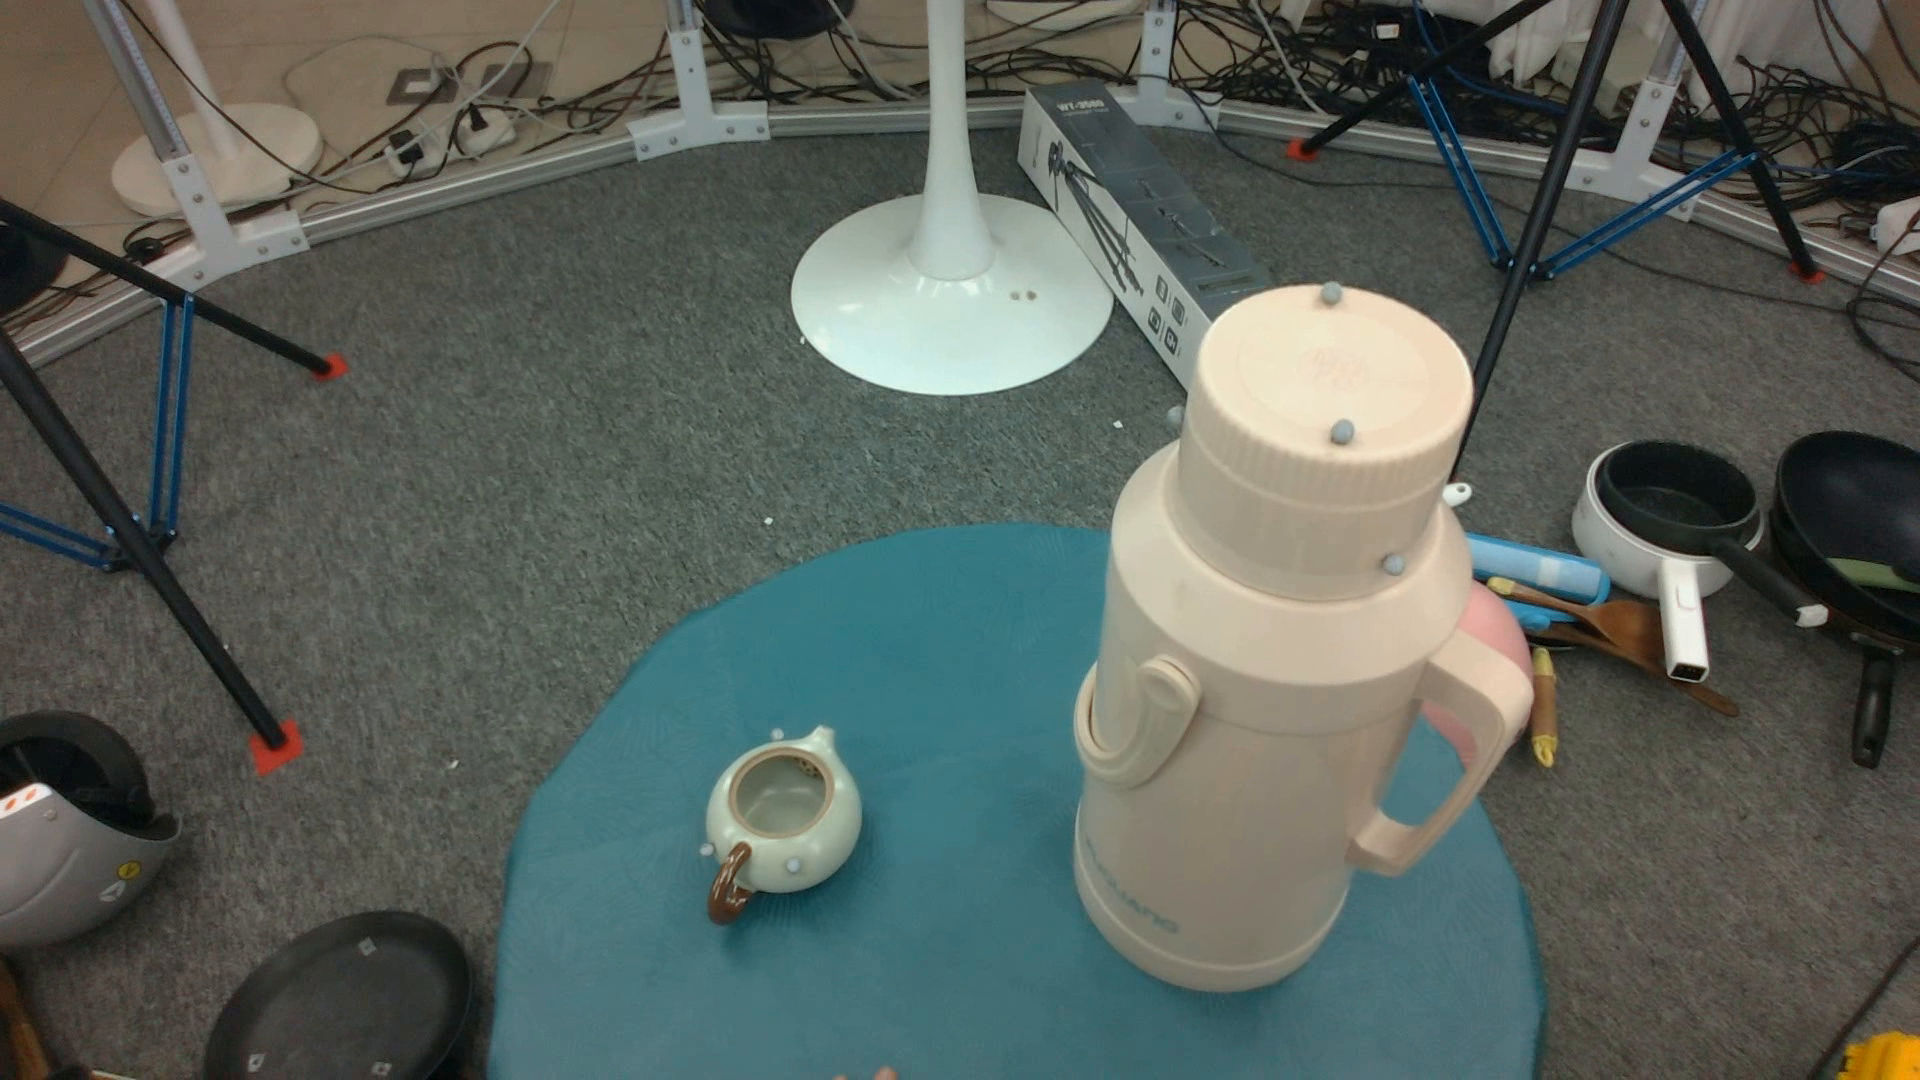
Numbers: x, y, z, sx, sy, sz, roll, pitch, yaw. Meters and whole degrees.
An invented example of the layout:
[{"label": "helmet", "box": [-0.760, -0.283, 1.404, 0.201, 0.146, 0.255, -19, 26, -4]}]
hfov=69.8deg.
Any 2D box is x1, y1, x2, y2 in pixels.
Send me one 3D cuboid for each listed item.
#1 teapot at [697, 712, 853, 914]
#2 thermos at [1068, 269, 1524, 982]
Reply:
[{"label": "teapot", "box": [-0.114, 0.163, 0.812, 0.092, 0.059, 0.129, 22, 51, 13]}, {"label": "thermos", "box": [0.153, 0.068, 0.675, 0.207, 0.404, 0.176, 33, 55, 26]}]
